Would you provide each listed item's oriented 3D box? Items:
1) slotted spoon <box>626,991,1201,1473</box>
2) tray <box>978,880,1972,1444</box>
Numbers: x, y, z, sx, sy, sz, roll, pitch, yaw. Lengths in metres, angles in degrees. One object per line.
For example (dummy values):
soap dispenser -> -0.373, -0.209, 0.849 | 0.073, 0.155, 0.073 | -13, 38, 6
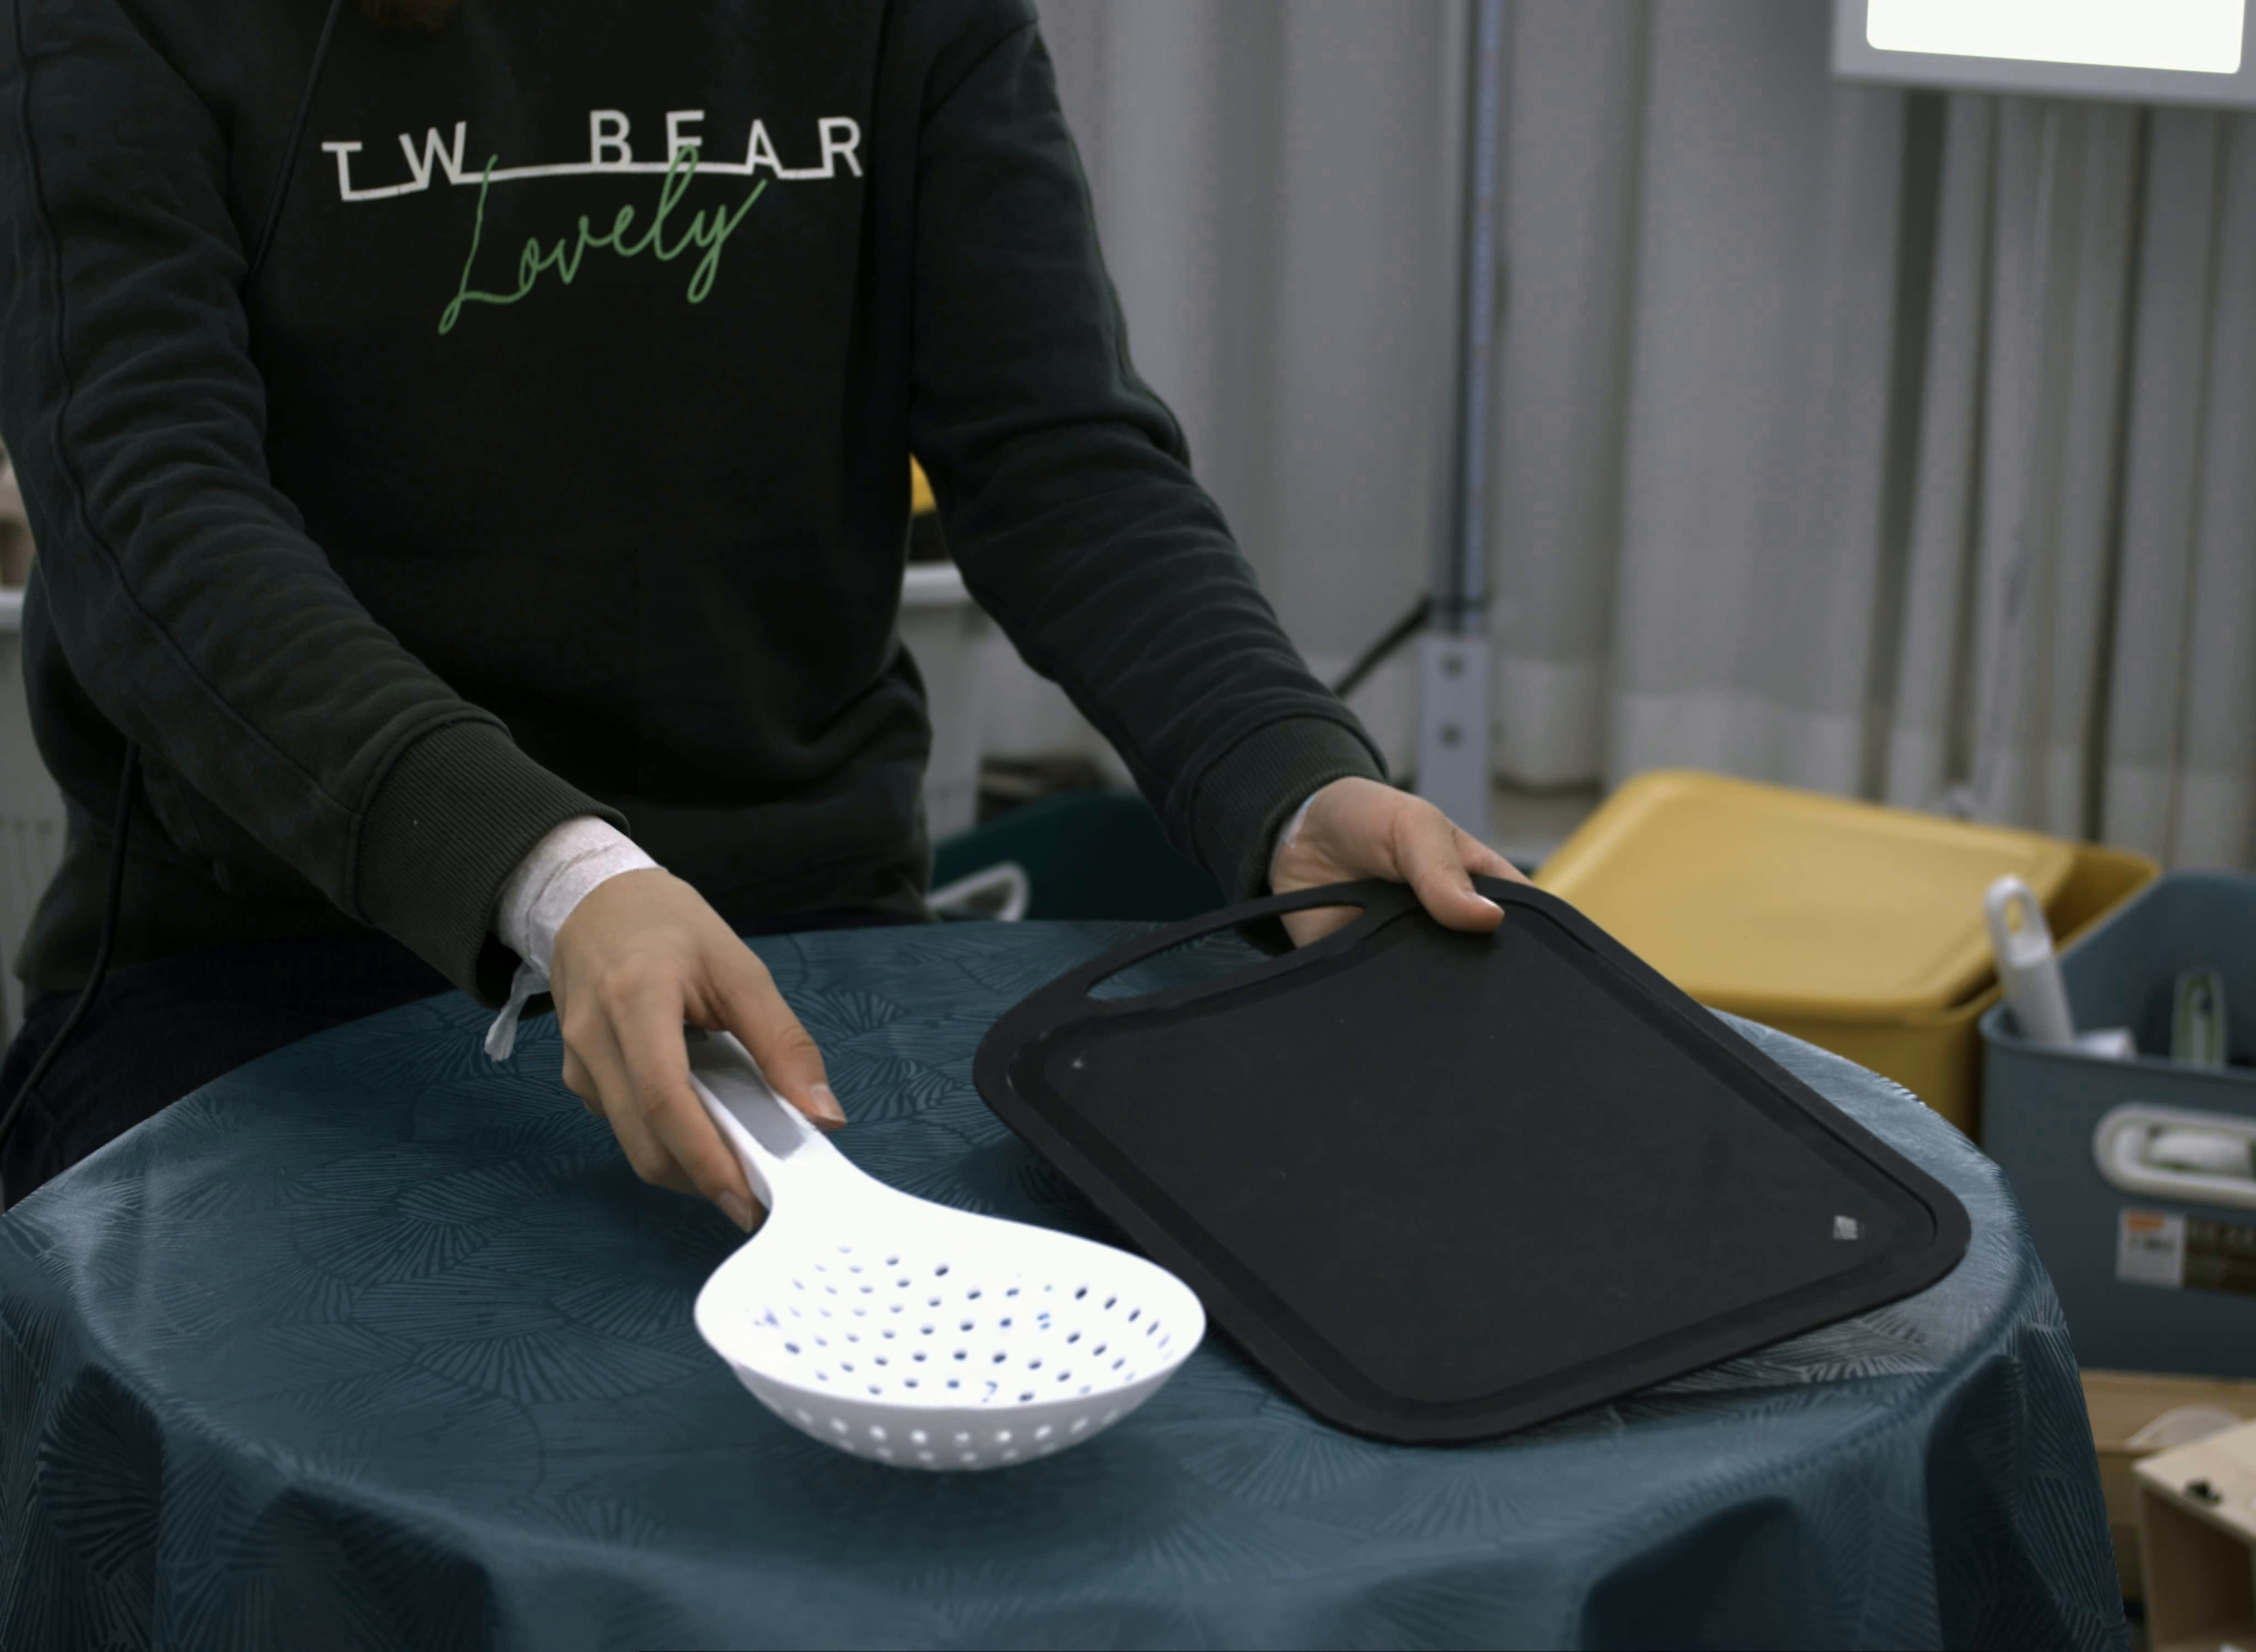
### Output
slotted spoon -> -0.086, 0.107, 1.497 | 0.136, 0.046, 0.345 | -3, 22, -21
tray -> 0.093, 0.090, 1.581 | 0.211, 0.010, 0.321 | -15, 29, -22
